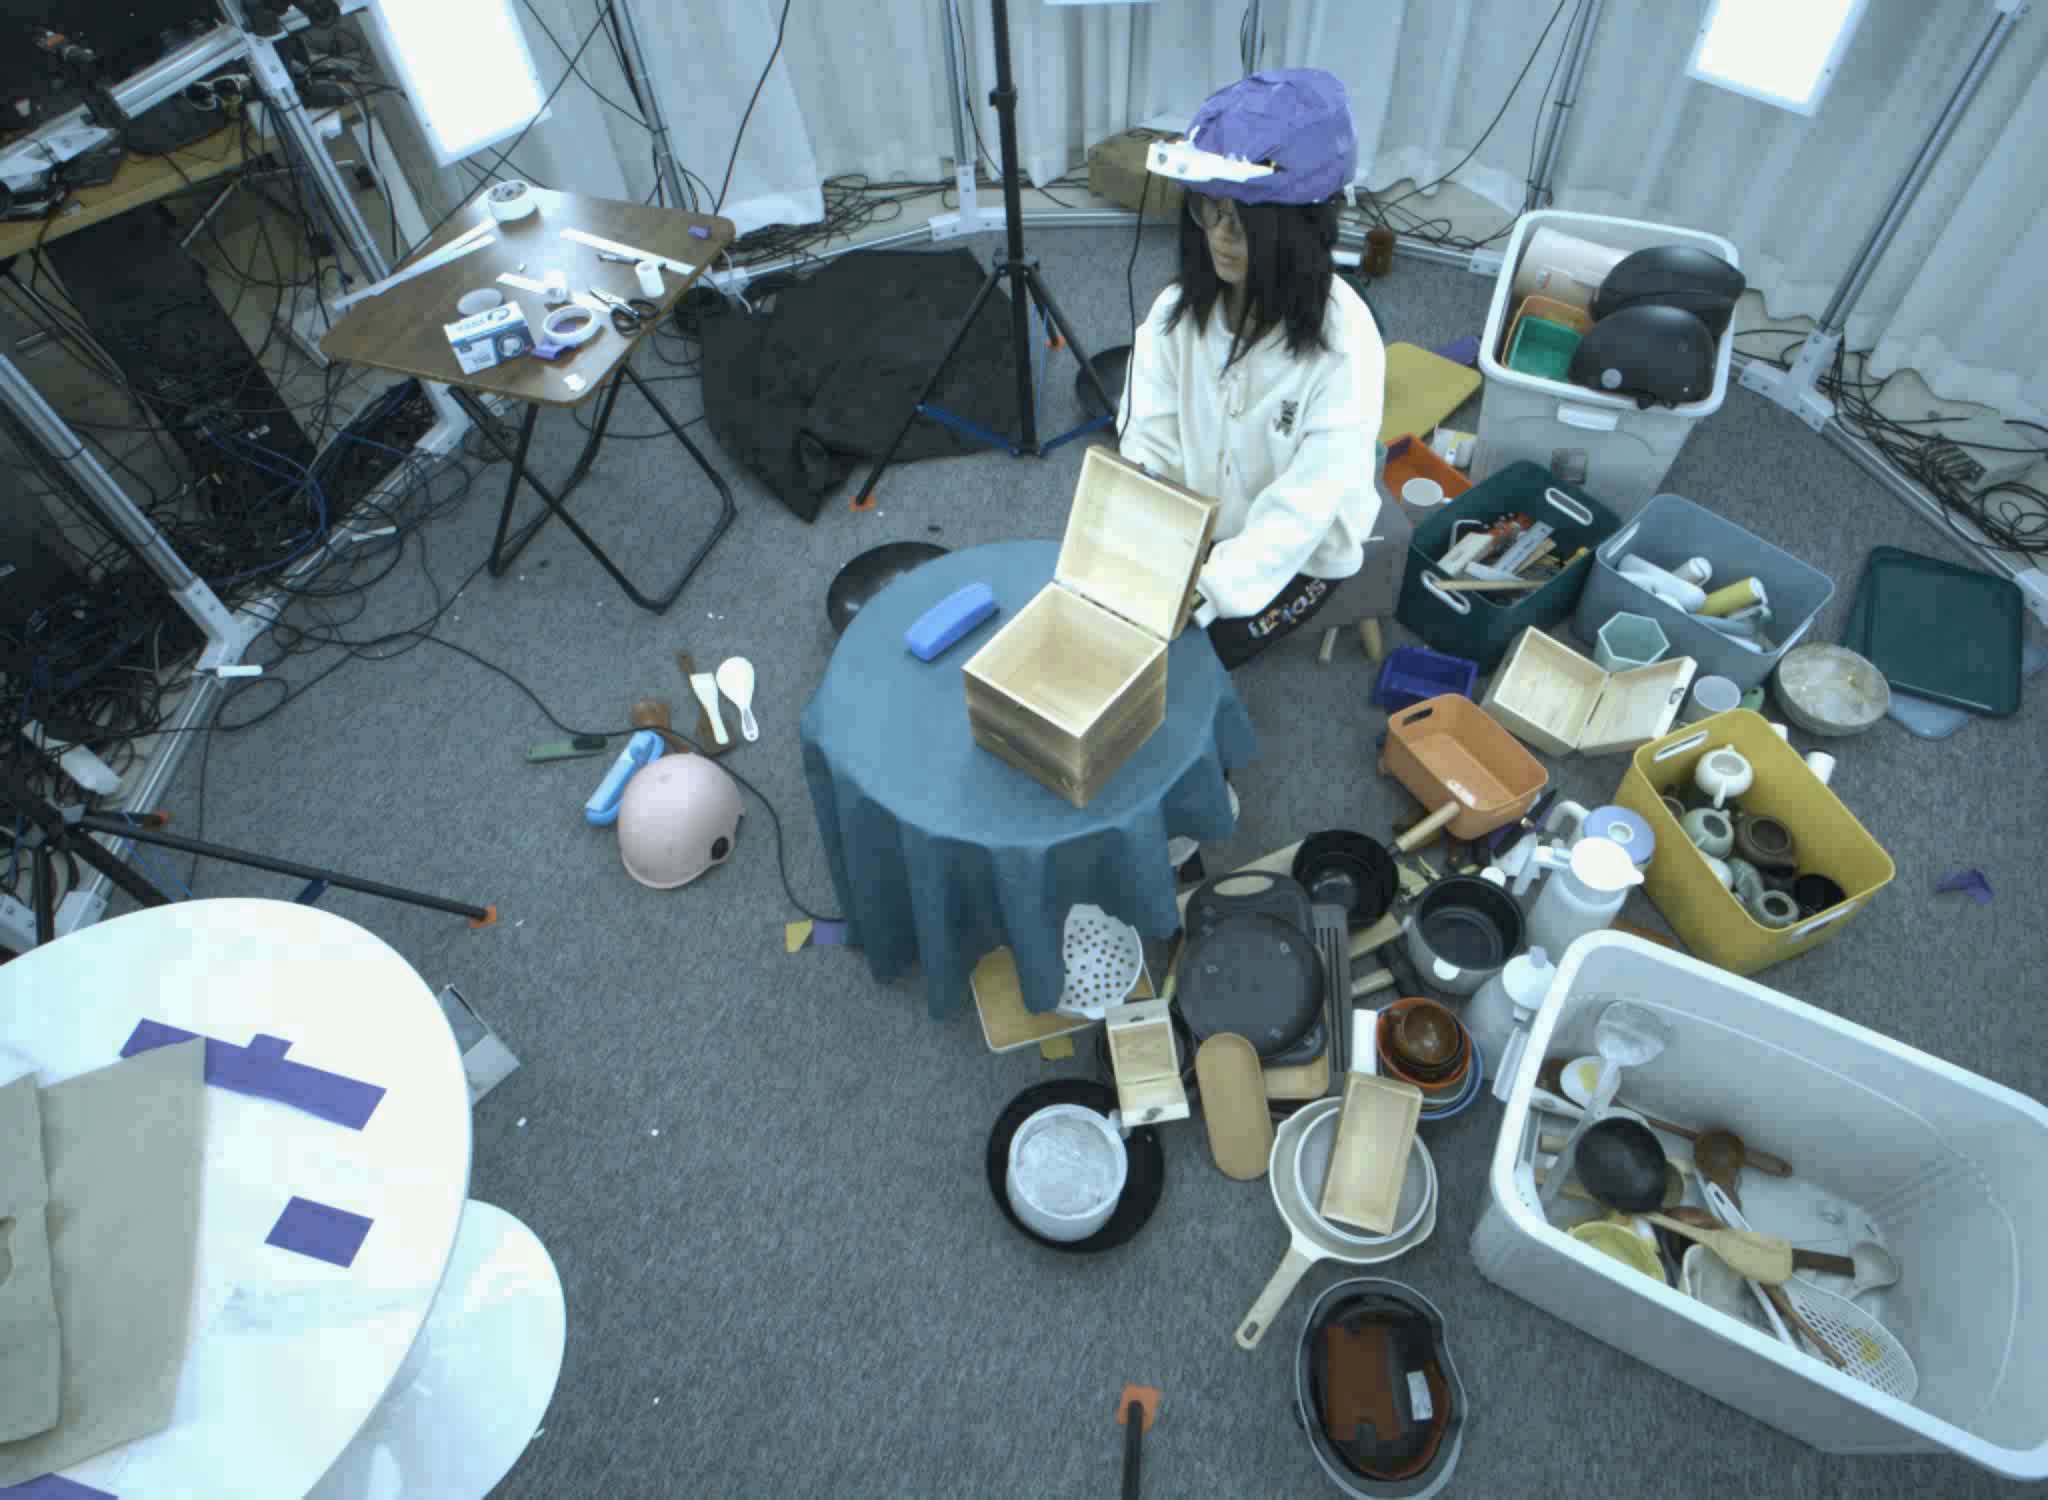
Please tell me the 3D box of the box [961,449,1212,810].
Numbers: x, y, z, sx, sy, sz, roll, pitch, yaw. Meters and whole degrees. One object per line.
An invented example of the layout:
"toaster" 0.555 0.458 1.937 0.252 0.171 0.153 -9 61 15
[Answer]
"box" 0.086 -0.168 1.684 0.205 0.379 0.324 31 60 24

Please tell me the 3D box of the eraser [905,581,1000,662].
"eraser" -0.112 -0.206 1.908 0.163 0.048 0.053 -40 62 -22
